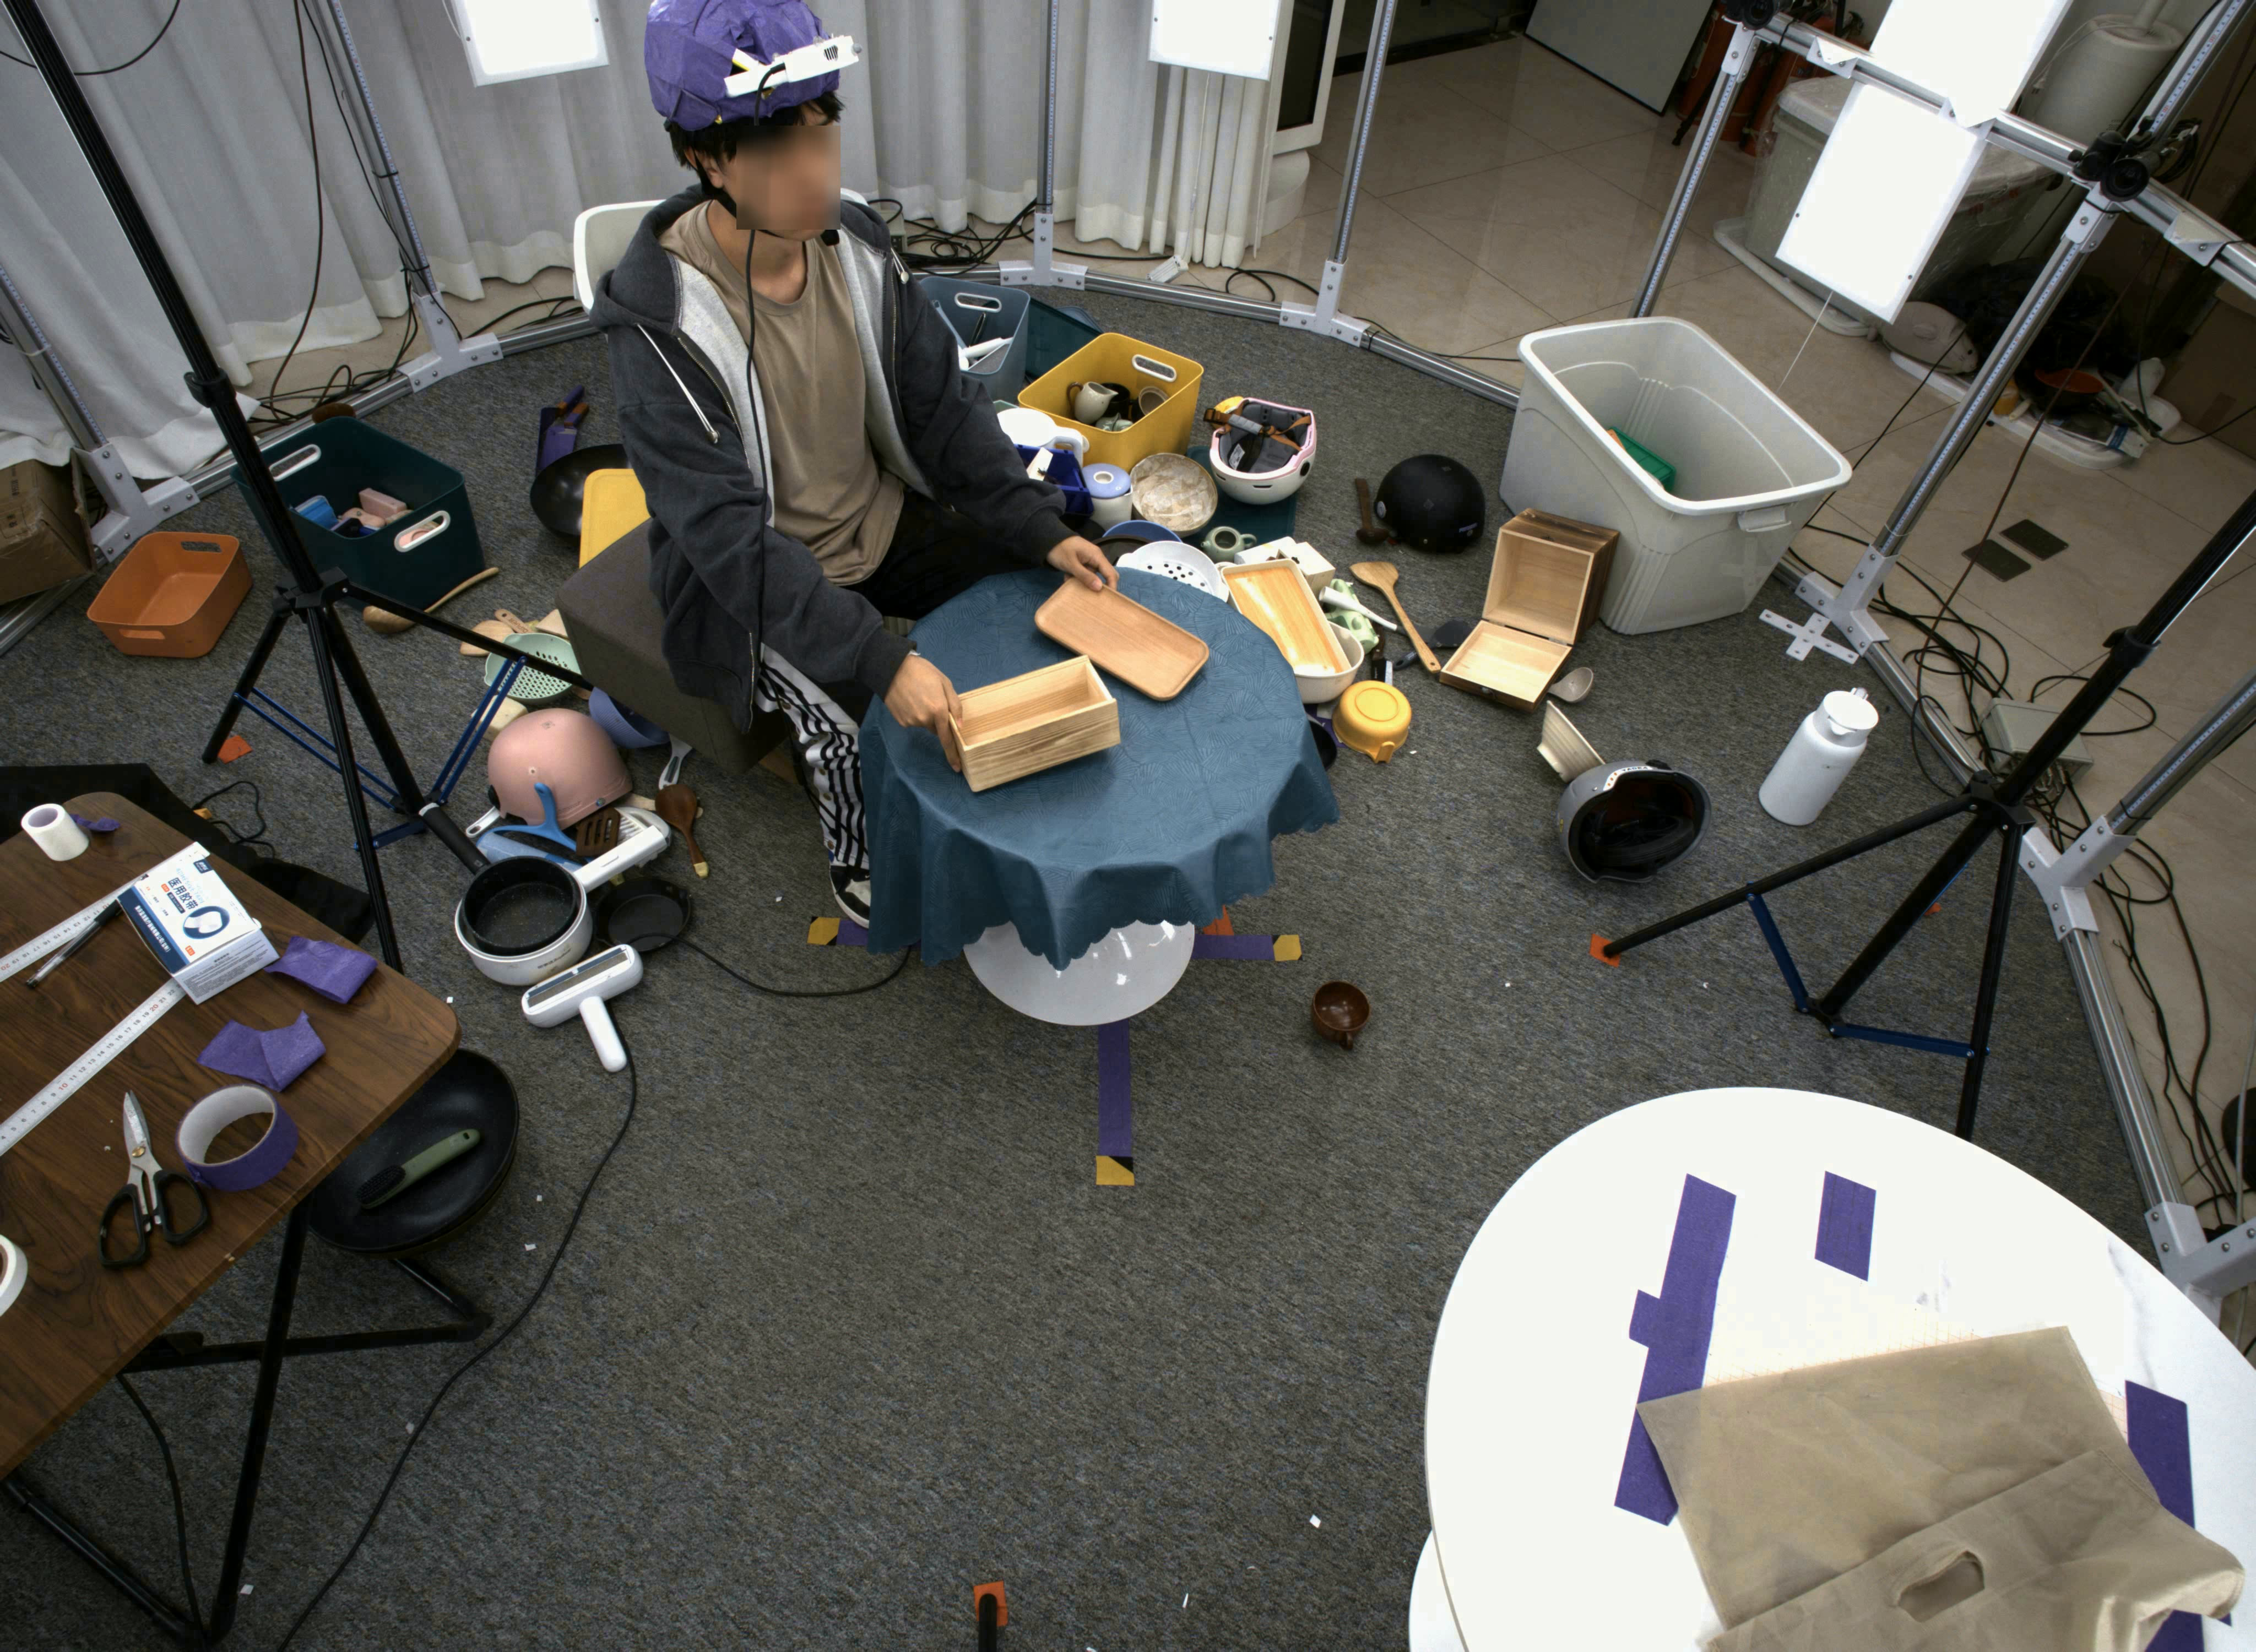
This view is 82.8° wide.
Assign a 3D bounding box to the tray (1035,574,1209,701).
[{"bbox_3d":[-0.010,-0.276,1.877,0.253,0.022,0.132,33,59,18],"label":"tray"}]

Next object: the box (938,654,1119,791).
[{"bbox_3d":[-0.131,-0.139,1.703,0.211,0.078,0.110,-19,48,-13],"label":"box"}]
